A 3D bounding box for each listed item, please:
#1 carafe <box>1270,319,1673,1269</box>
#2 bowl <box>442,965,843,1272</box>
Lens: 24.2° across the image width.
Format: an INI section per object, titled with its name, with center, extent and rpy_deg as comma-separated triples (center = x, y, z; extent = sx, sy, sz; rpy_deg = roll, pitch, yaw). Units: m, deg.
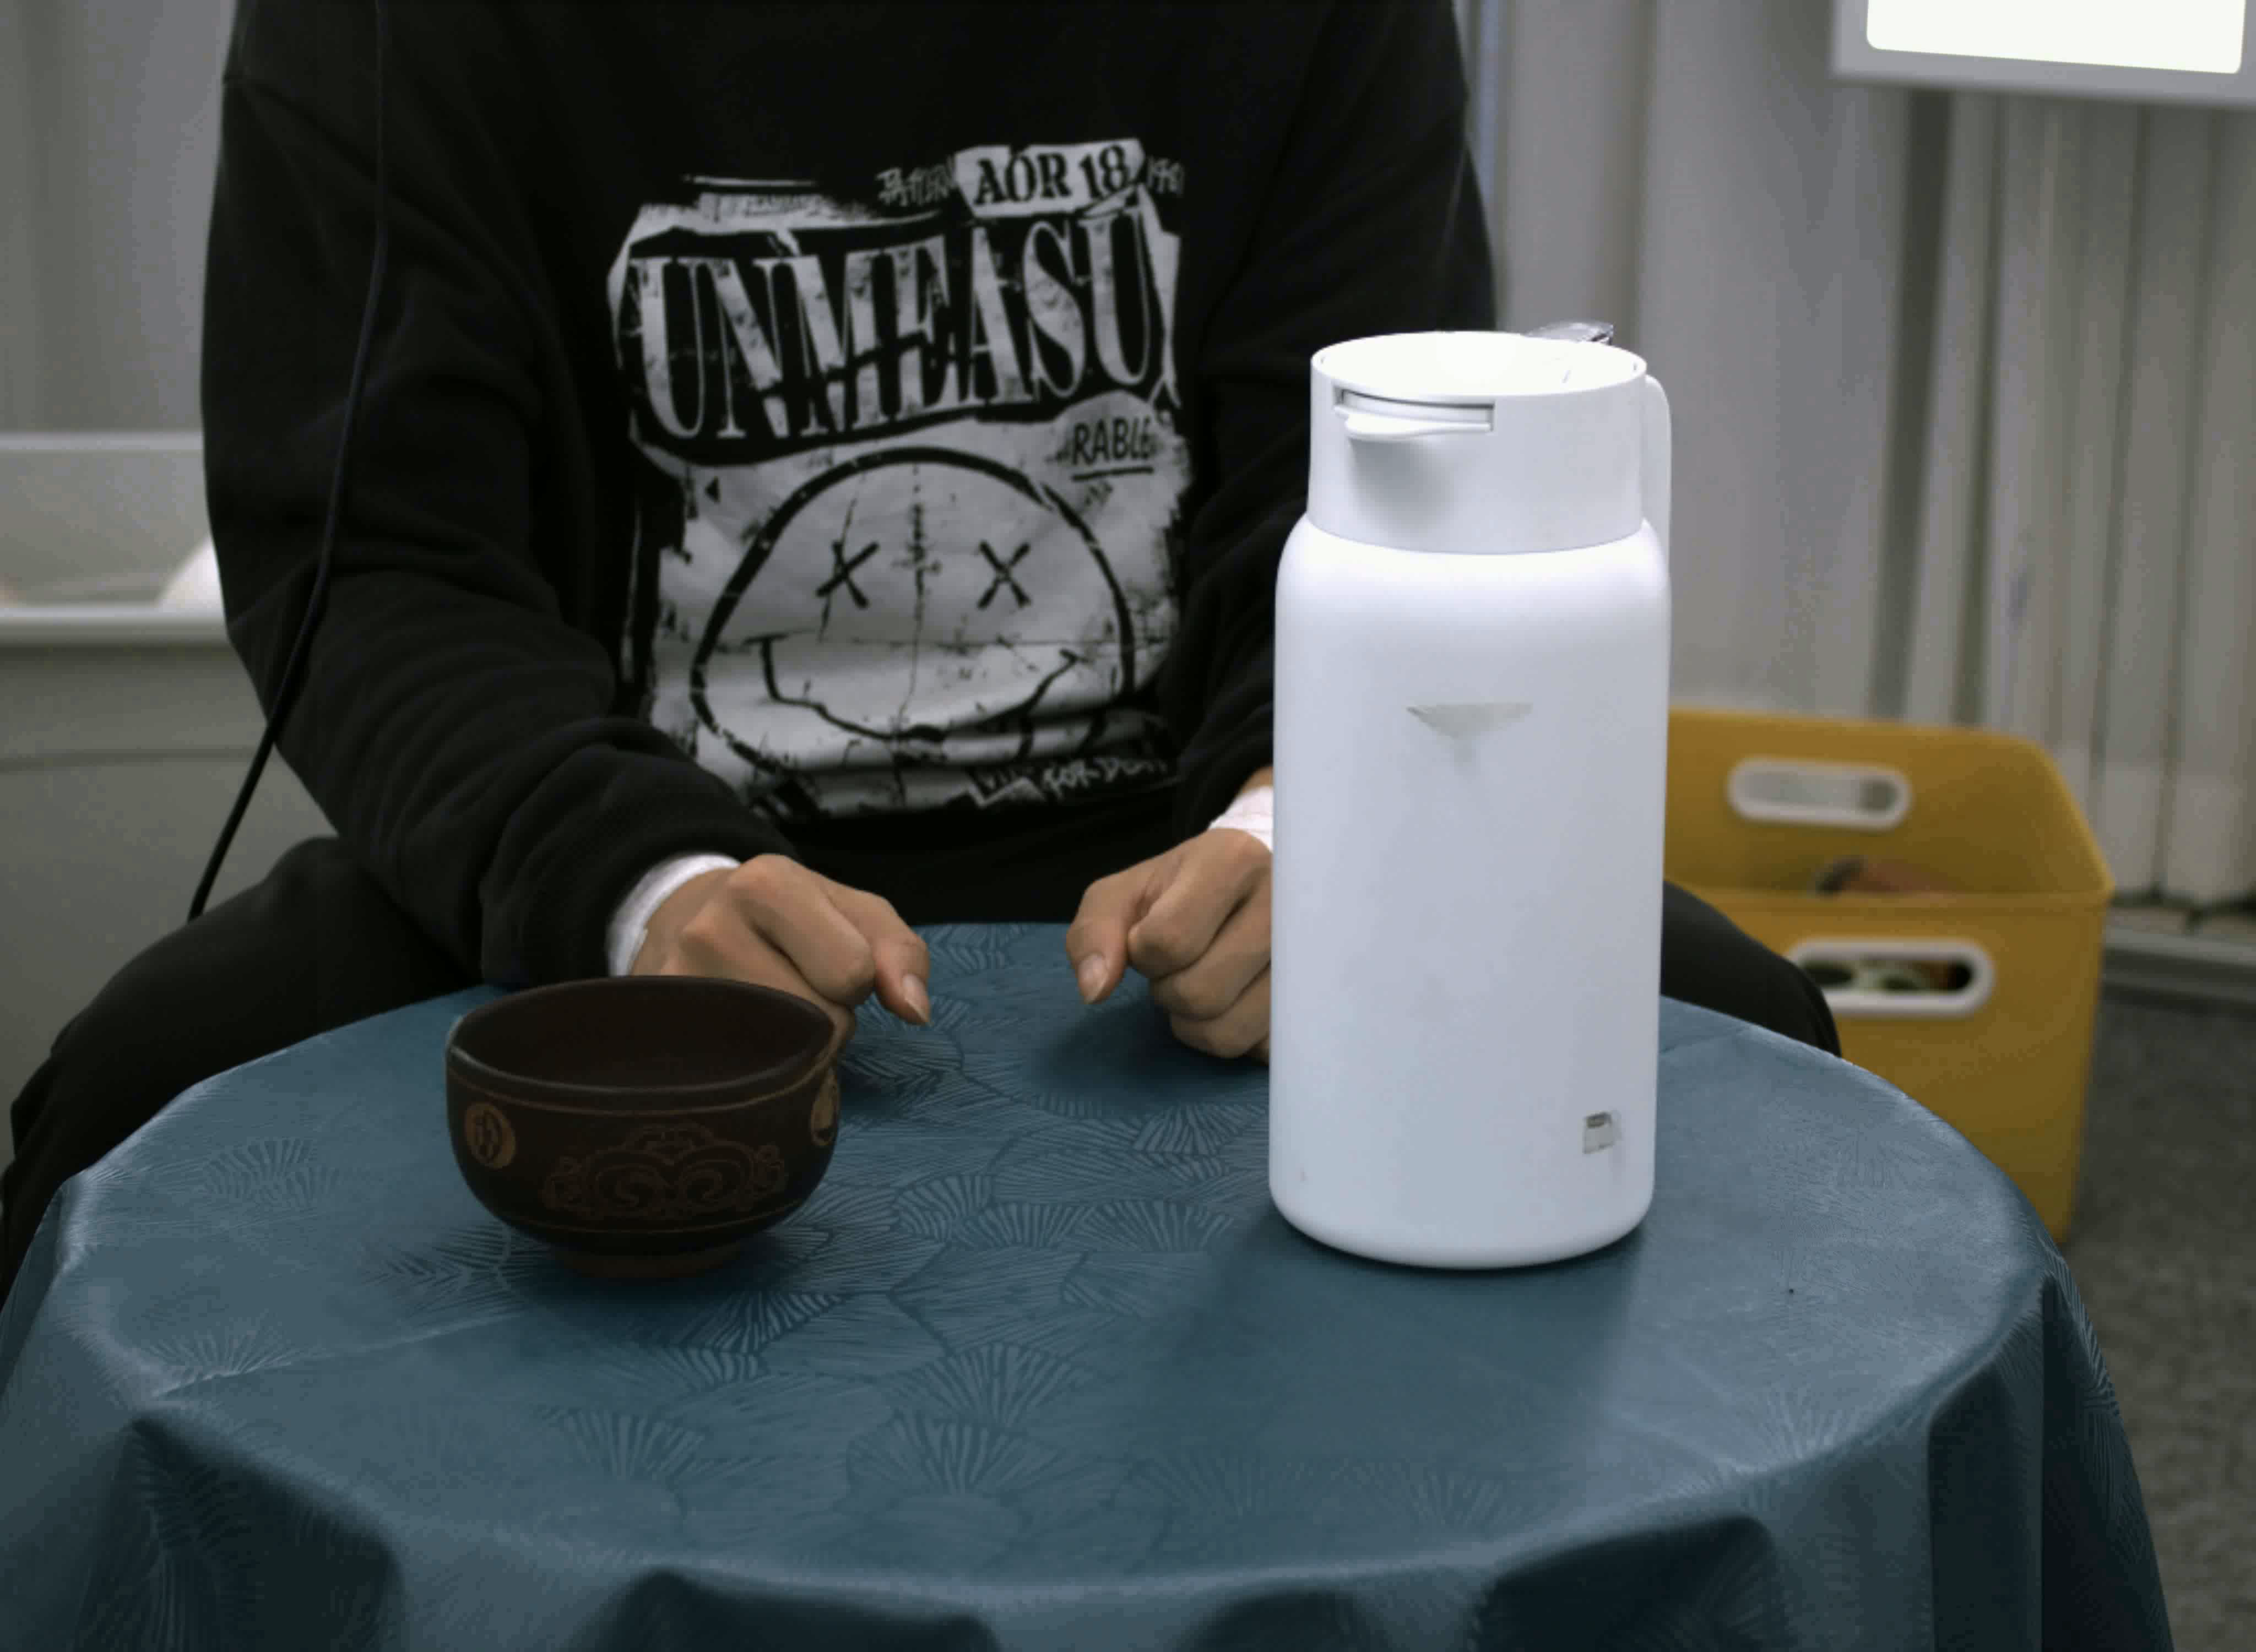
[carafe]
center = 0.109, -0.014, 1.581
extent = 0.122, 0.271, 0.173
rpy_deg = 7, 18, 29
[bowl]
center = -0.143, 0.090, 1.558
extent = 0.117, 0.070, 0.117
rpy_deg = 1, 15, 0
